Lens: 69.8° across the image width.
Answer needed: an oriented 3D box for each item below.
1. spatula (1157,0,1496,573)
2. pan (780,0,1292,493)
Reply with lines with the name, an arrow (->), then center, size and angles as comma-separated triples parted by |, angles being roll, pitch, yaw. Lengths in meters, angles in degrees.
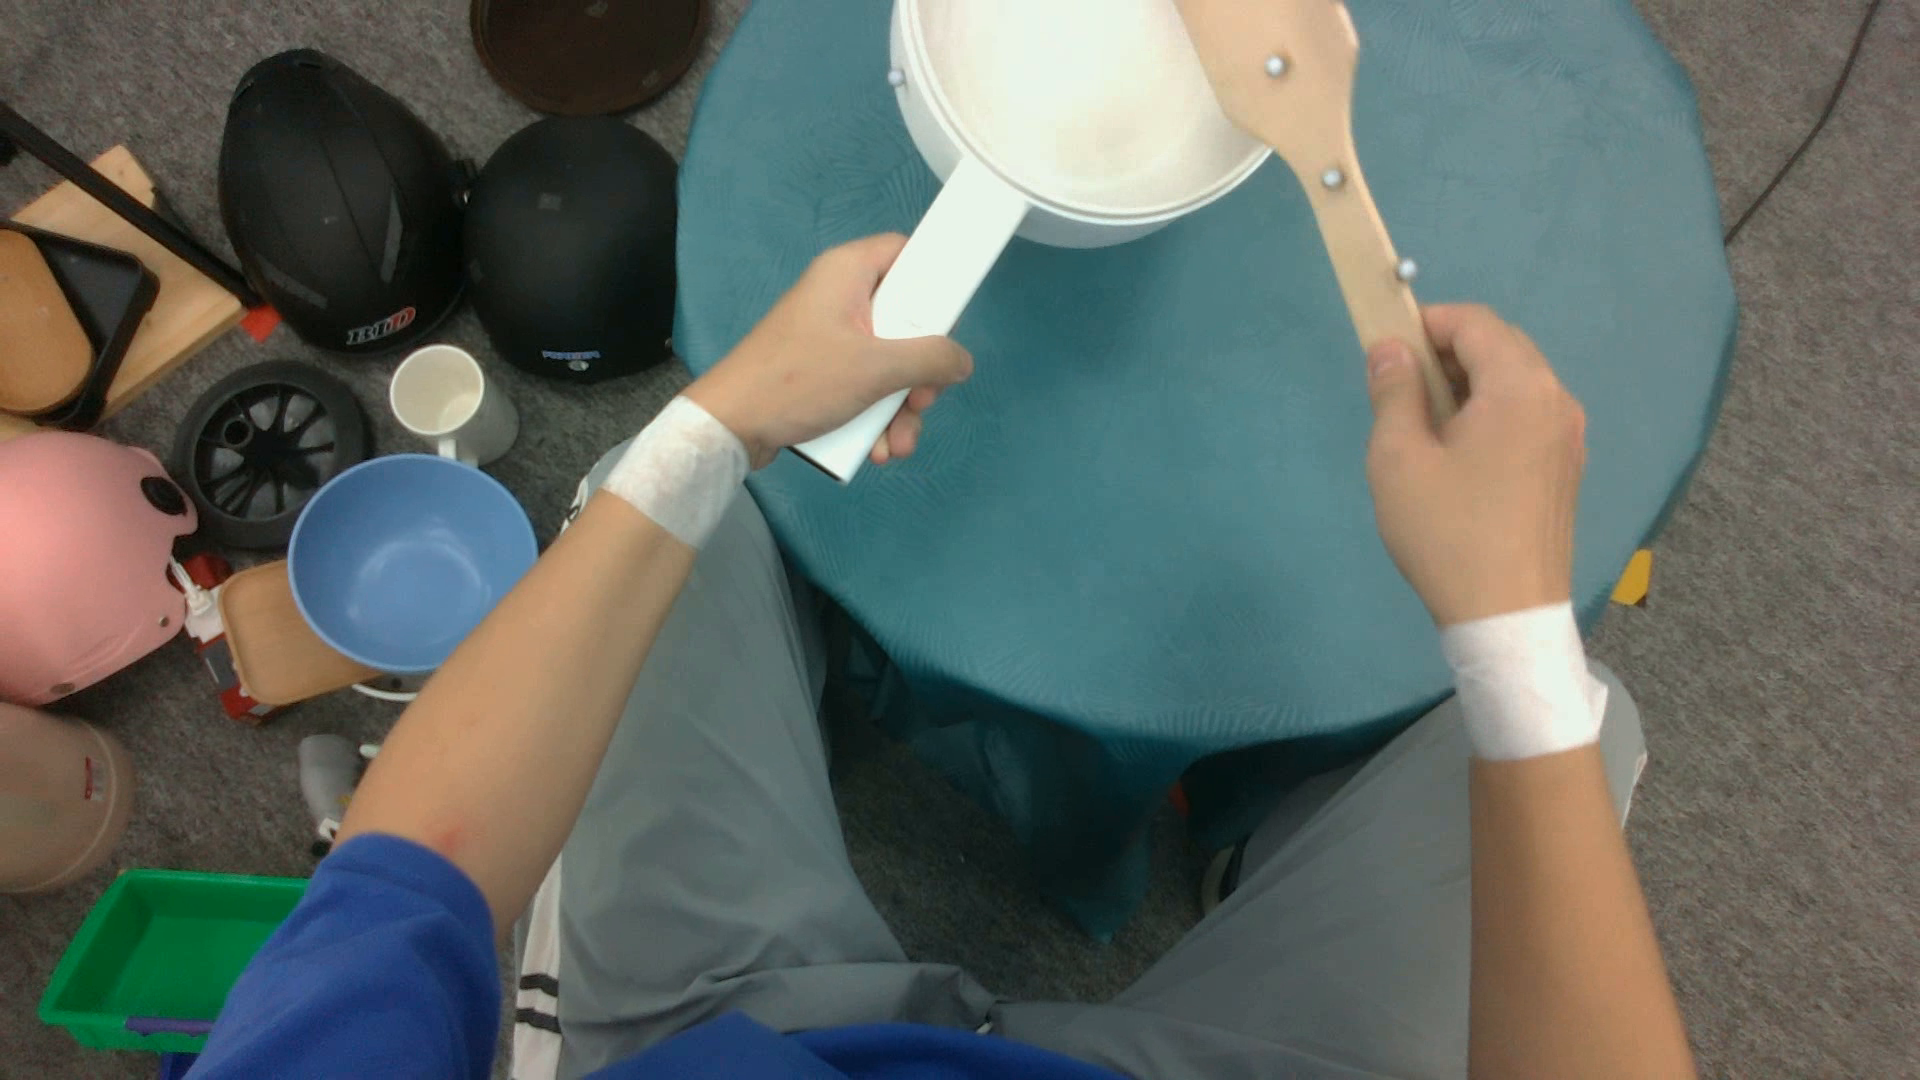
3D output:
spatula -> 0.167, -0.123, 0.596 | 0.011, 0.072, 0.293 | -21, 88, -44
pan -> 0.020, -0.180, 0.698 | 0.201, 0.102, 0.355 | 32, 84, -10
